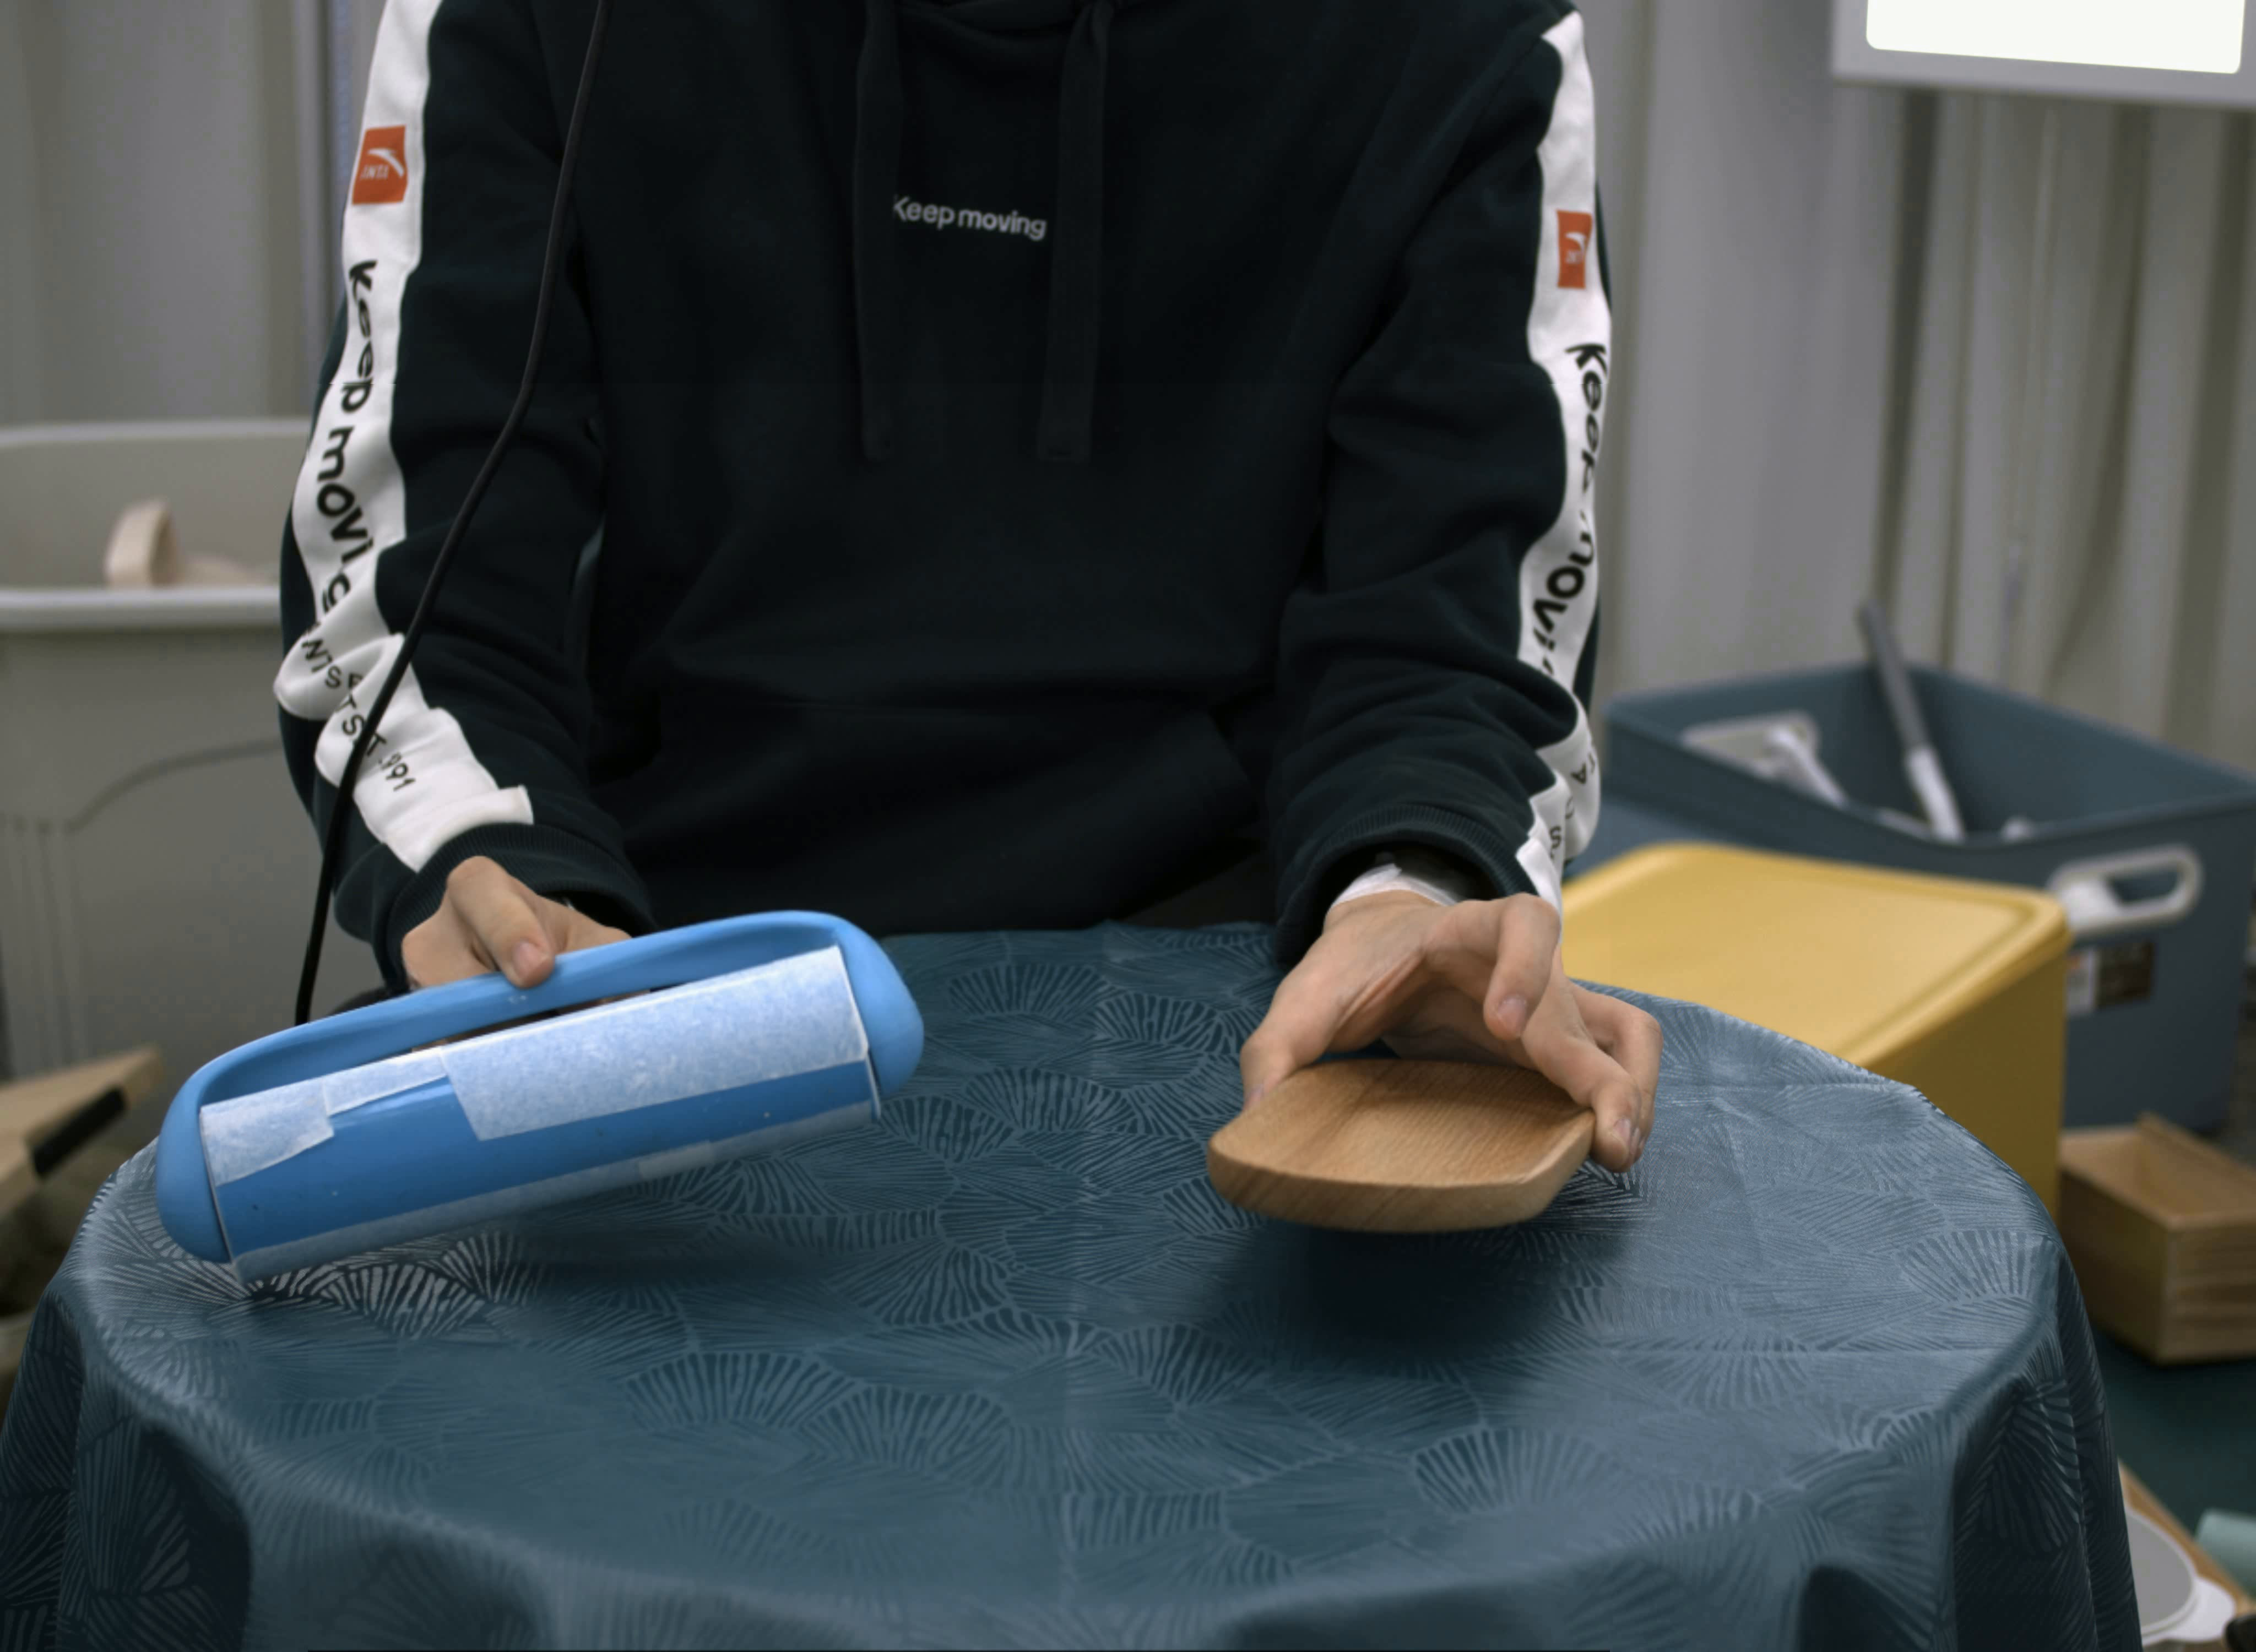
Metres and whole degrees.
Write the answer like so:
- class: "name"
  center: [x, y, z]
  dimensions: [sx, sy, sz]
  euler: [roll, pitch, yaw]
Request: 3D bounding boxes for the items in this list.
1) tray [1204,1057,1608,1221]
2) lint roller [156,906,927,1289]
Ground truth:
- class: "tray"
  center: [0.085, 0.092, 1.567]
  dimensions: [0.101, 0.020, 0.231]
  euler: [6, 5, 11]
- class: "lint roller"
  center: [-0.181, 0.073, 1.587]
  dimensions: [0.229, 0.068, 0.179]
  euler: [-17, 11, -8]
